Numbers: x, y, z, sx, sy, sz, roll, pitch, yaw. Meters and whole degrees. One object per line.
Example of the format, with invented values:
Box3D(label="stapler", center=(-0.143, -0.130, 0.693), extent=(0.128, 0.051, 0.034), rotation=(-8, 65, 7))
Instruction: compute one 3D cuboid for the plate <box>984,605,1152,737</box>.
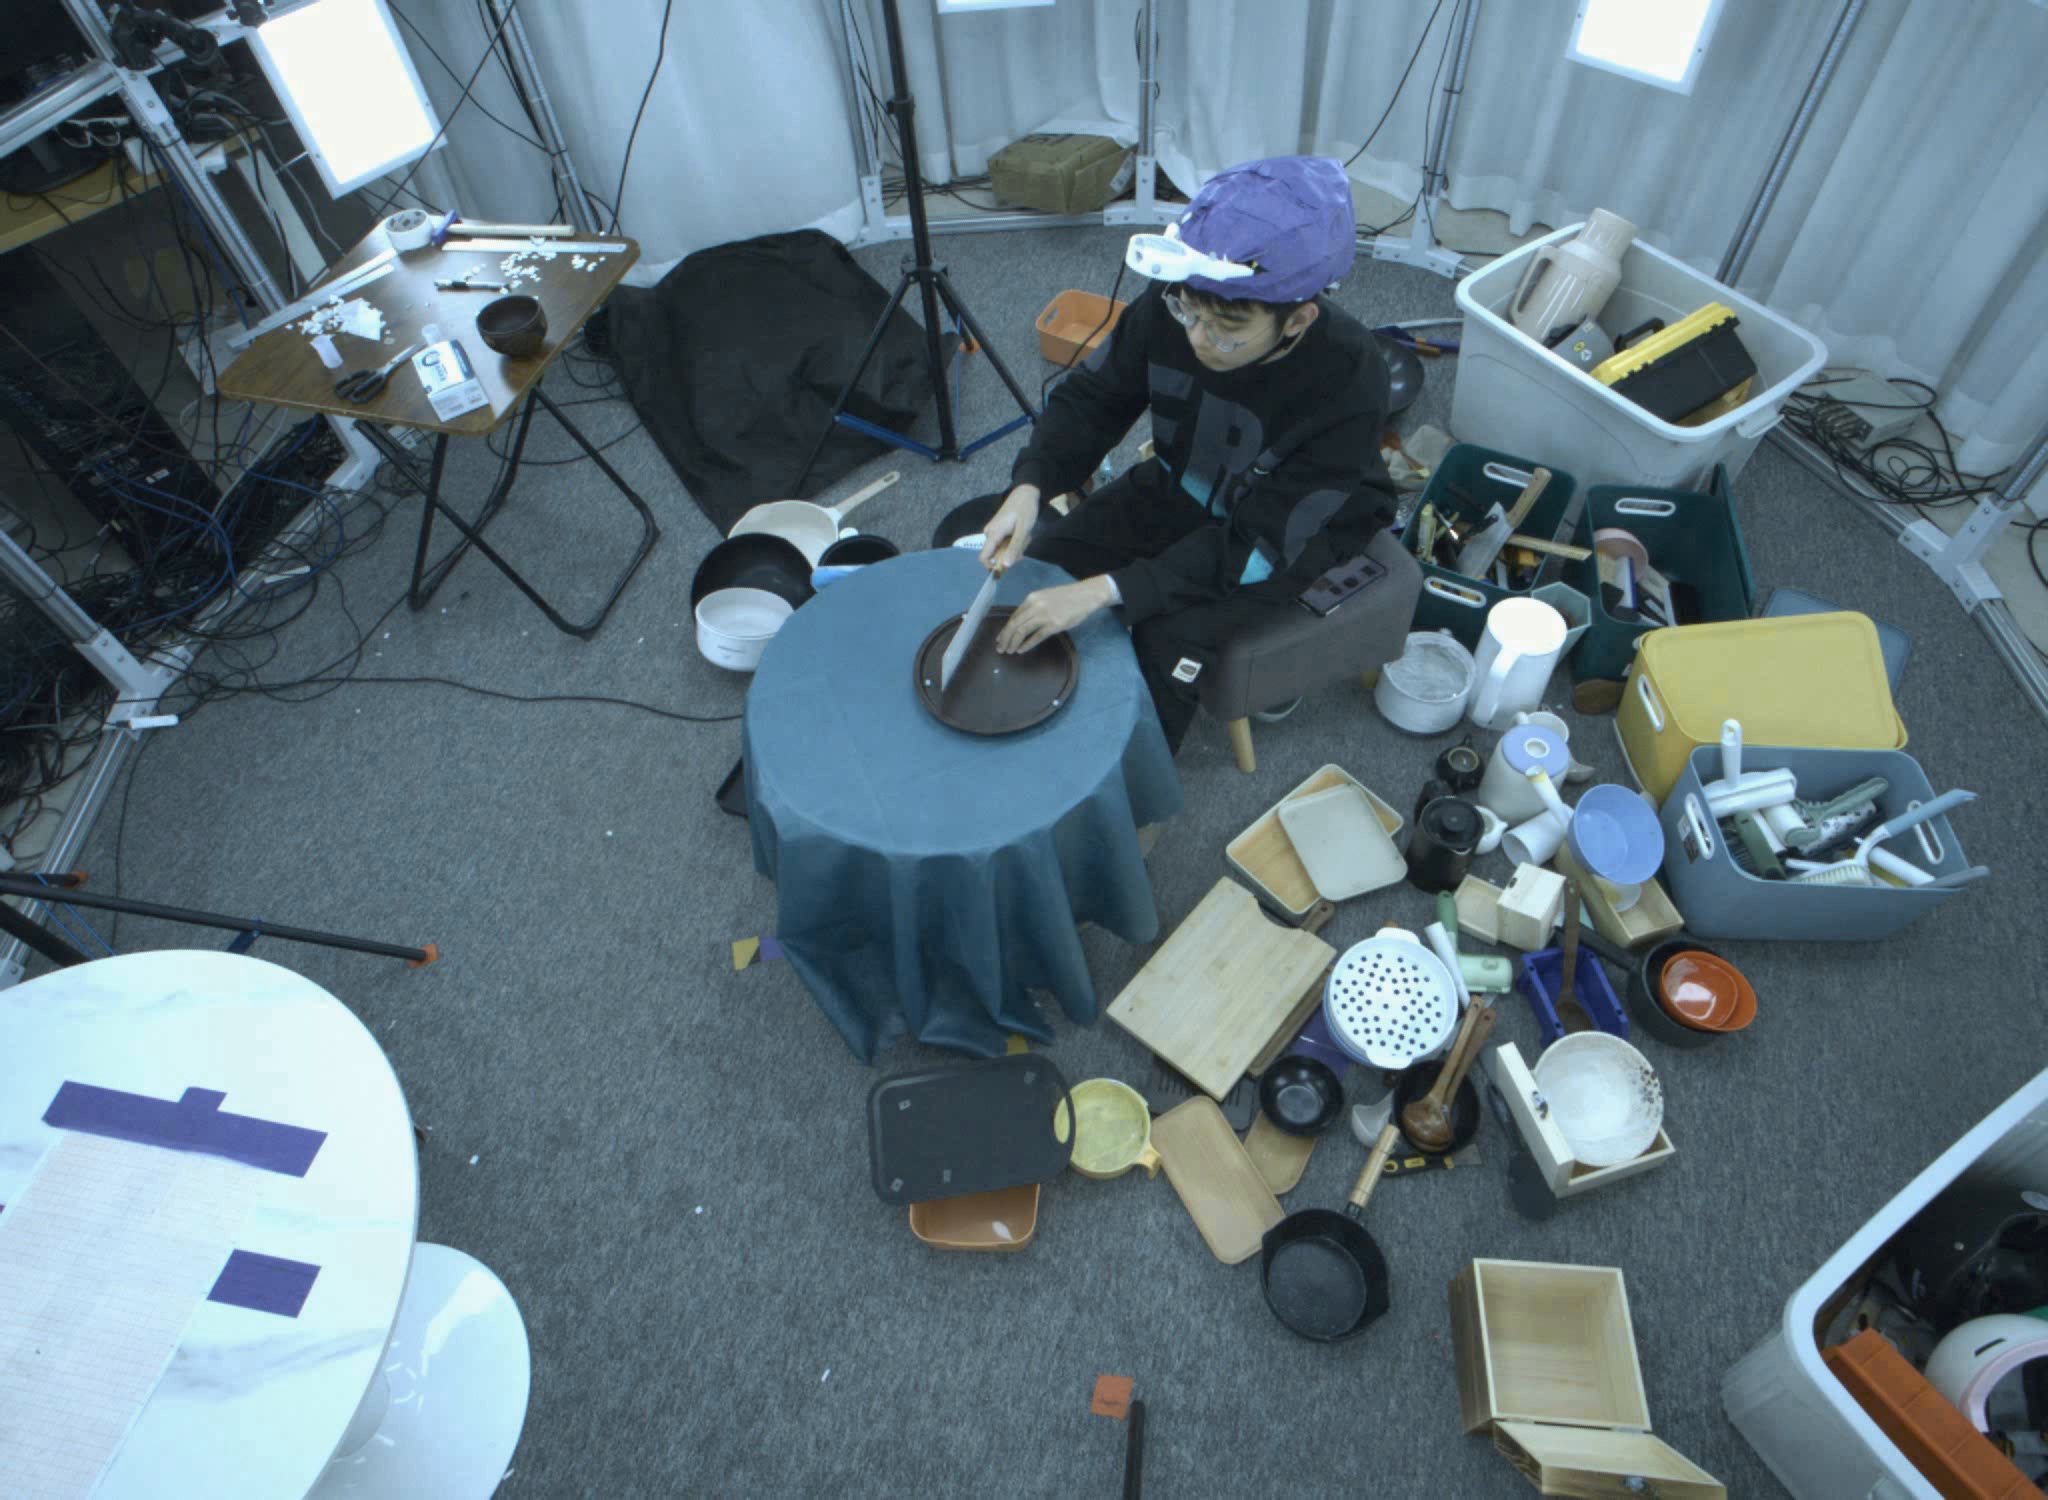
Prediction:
Box3D(label="plate", center=(0.065, -0.121, 1.854), extent=(0.255, 0.029, 0.252), rotation=(0, 56, 1))

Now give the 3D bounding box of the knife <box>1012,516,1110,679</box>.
Box3D(label="knife", center=(0.054, -0.229, 1.861), extent=(0.021, 0.093, 0.306), rotation=(25, 61, 11))
